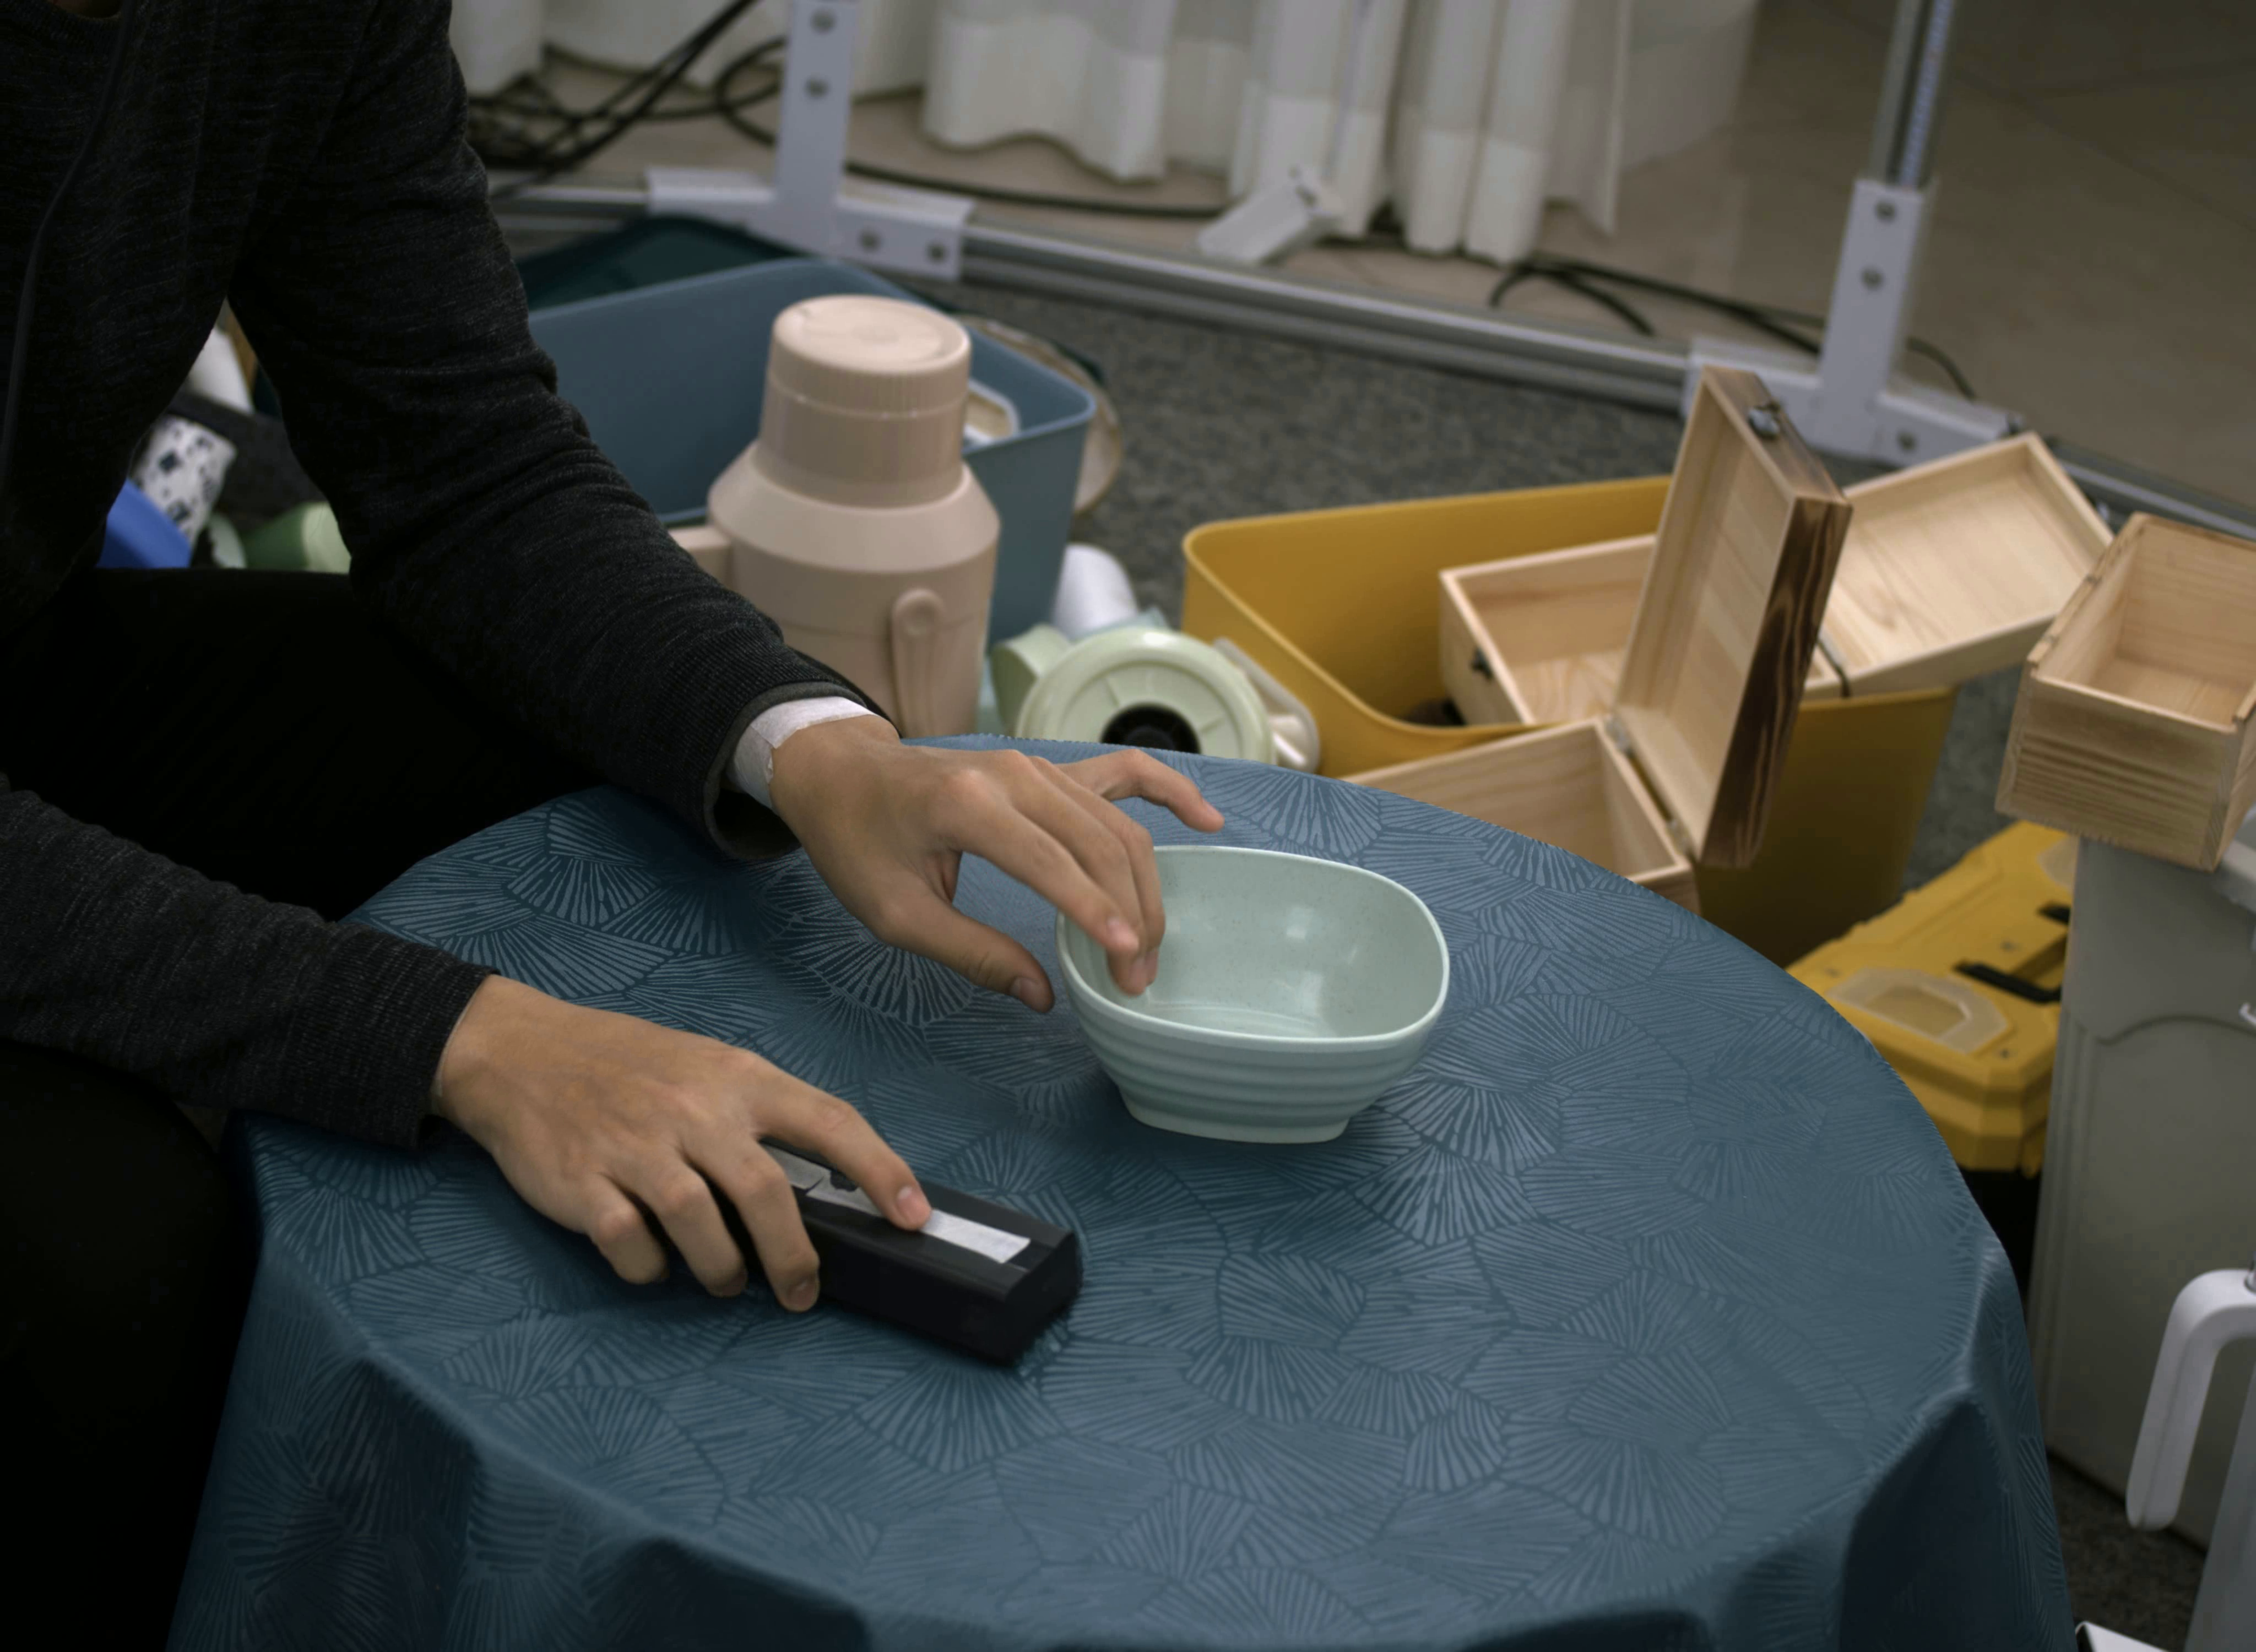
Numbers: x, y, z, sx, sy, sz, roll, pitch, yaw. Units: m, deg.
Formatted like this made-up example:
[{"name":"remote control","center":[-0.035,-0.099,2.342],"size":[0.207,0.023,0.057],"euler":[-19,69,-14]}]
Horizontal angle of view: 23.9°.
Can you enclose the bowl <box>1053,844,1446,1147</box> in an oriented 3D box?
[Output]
[{"name":"bowl","center":[0.039,0.065,1.865],"size":[0.151,0.058,0.152],"euler":[7,27,-4]}]

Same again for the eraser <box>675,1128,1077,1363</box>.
[{"name":"eraser","center":[-0.082,0.135,1.729],"size":[0.126,0.030,0.053],"euler":[17,26,21]}]
